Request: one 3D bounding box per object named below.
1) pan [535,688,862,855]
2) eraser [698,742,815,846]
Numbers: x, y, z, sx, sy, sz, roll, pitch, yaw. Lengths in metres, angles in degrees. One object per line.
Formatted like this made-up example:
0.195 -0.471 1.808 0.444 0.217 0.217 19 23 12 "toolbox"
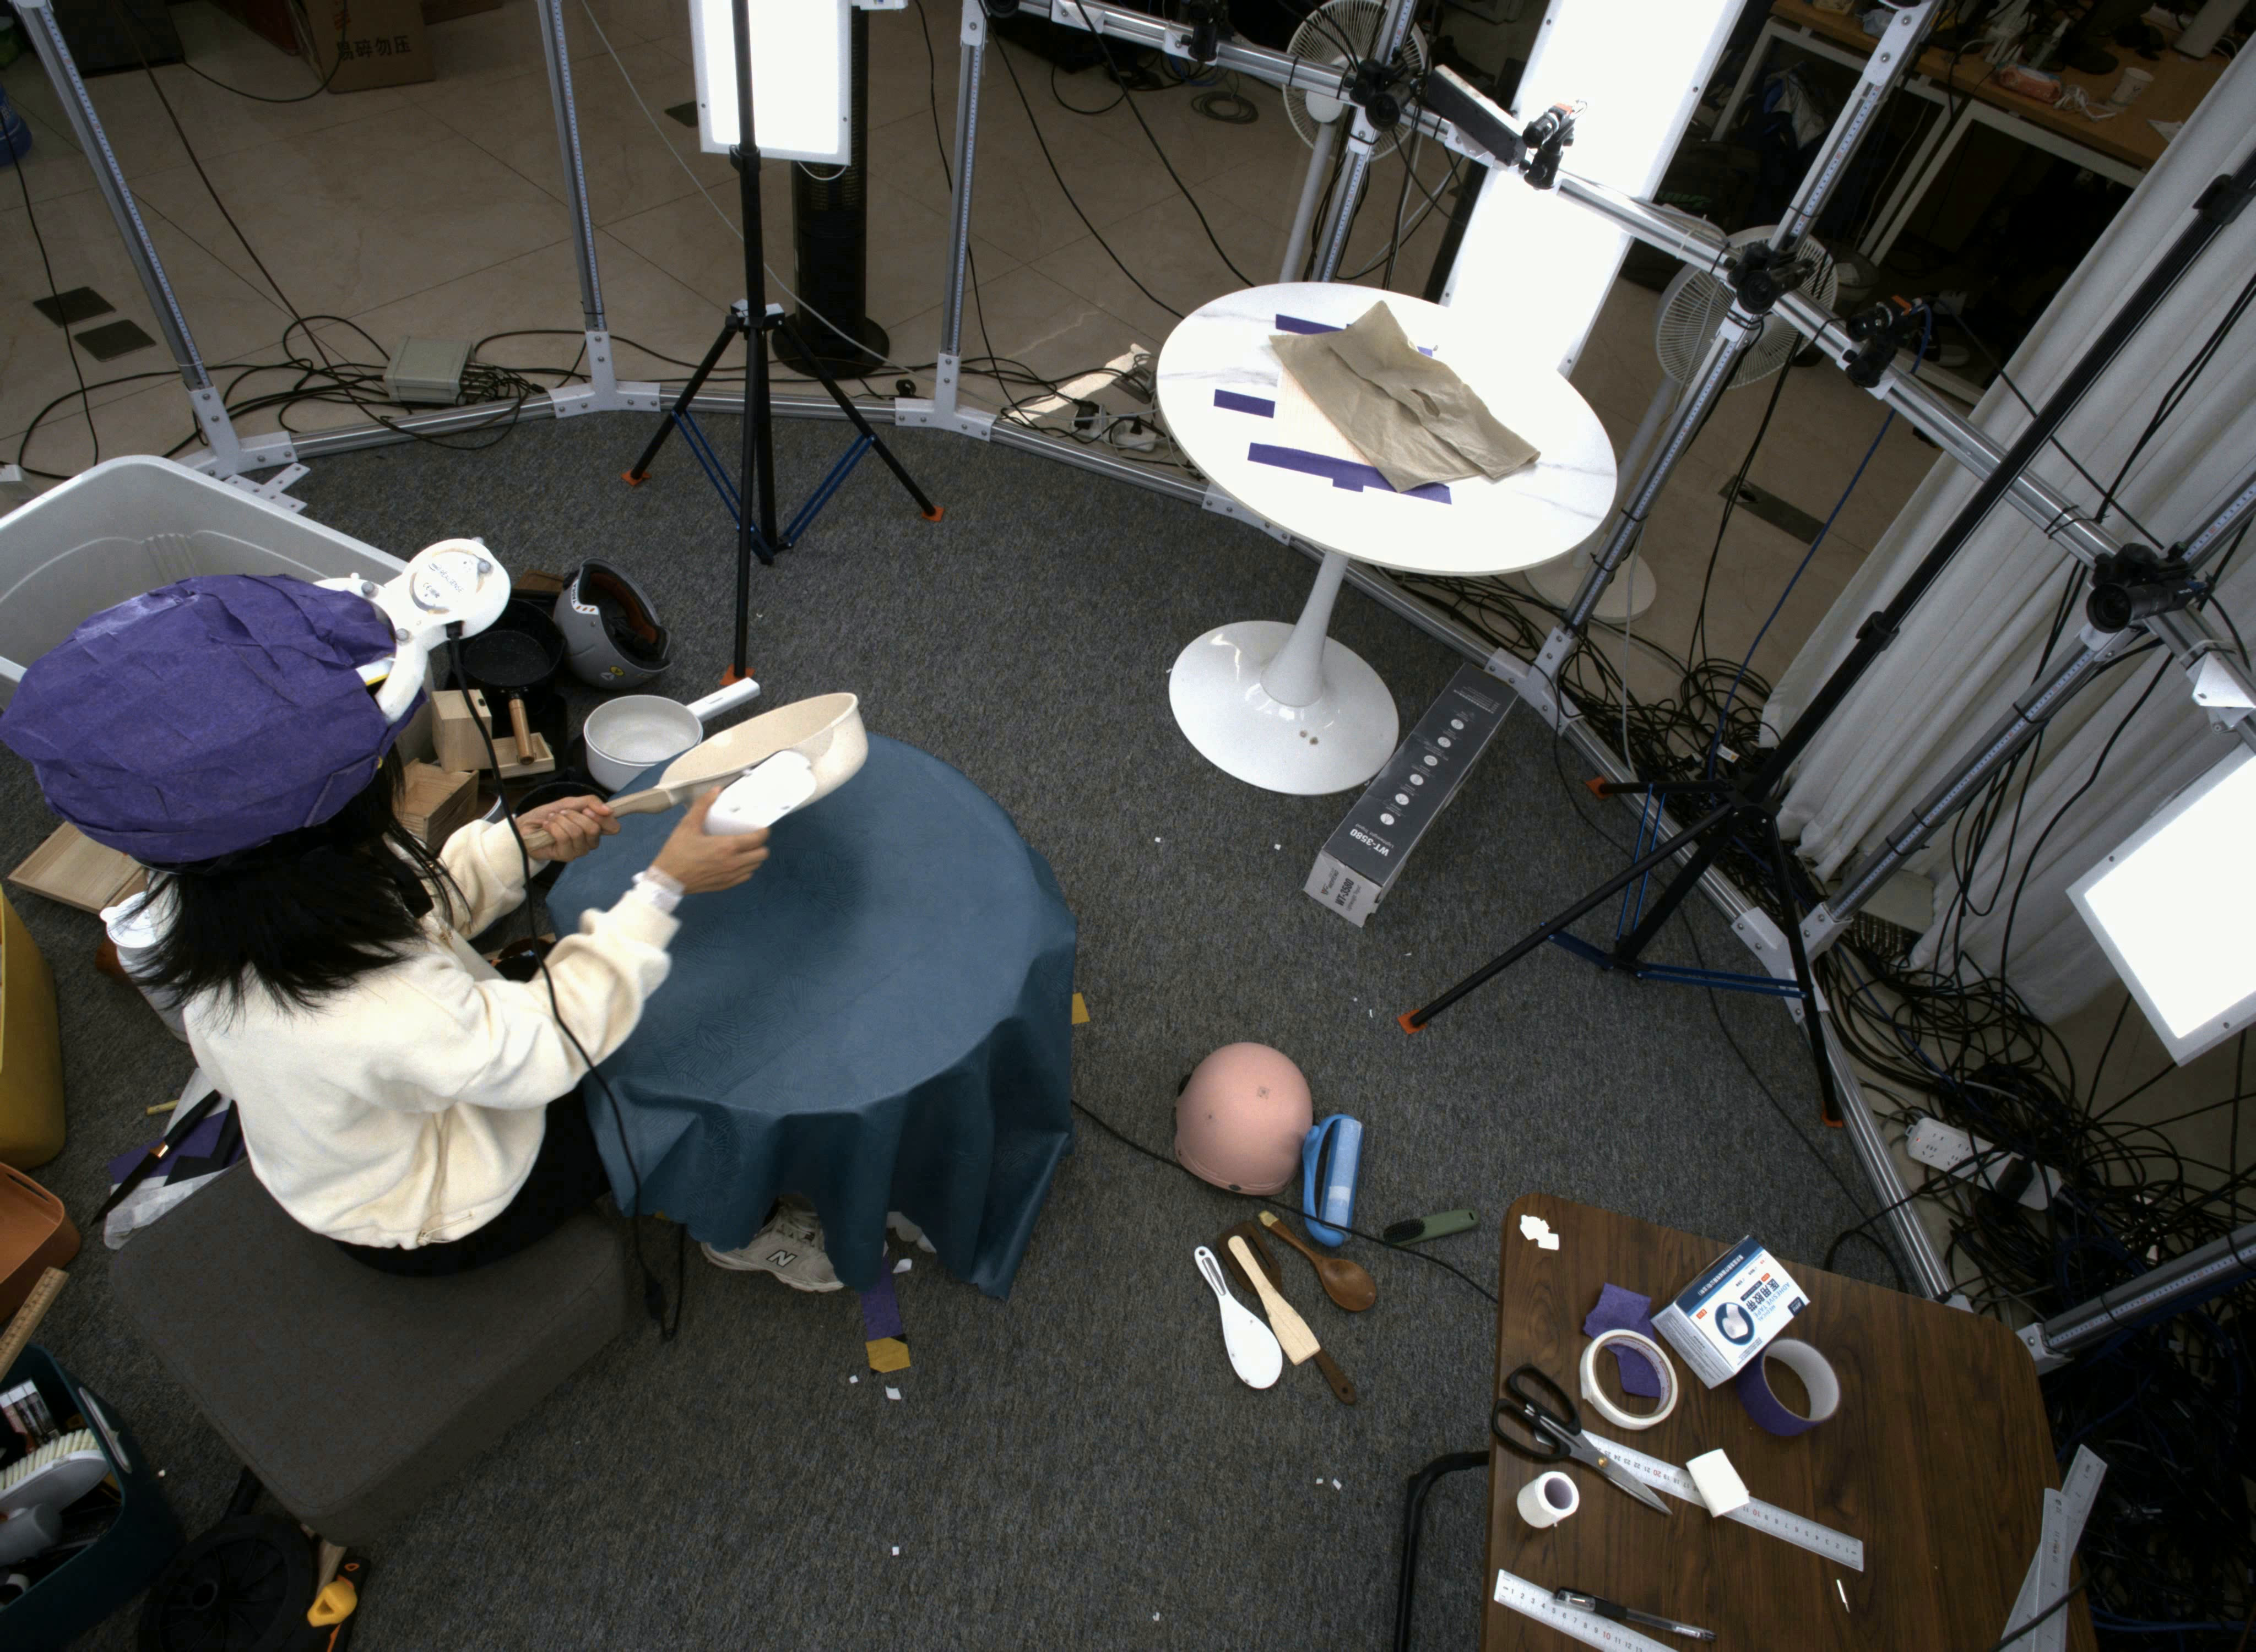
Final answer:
-0.505 -0.044 1.524 0.254 0.105 0.436 6 32 46 "pan"
-0.418 -0.038 1.449 0.131 0.066 0.033 -38 33 -11 "eraser"
